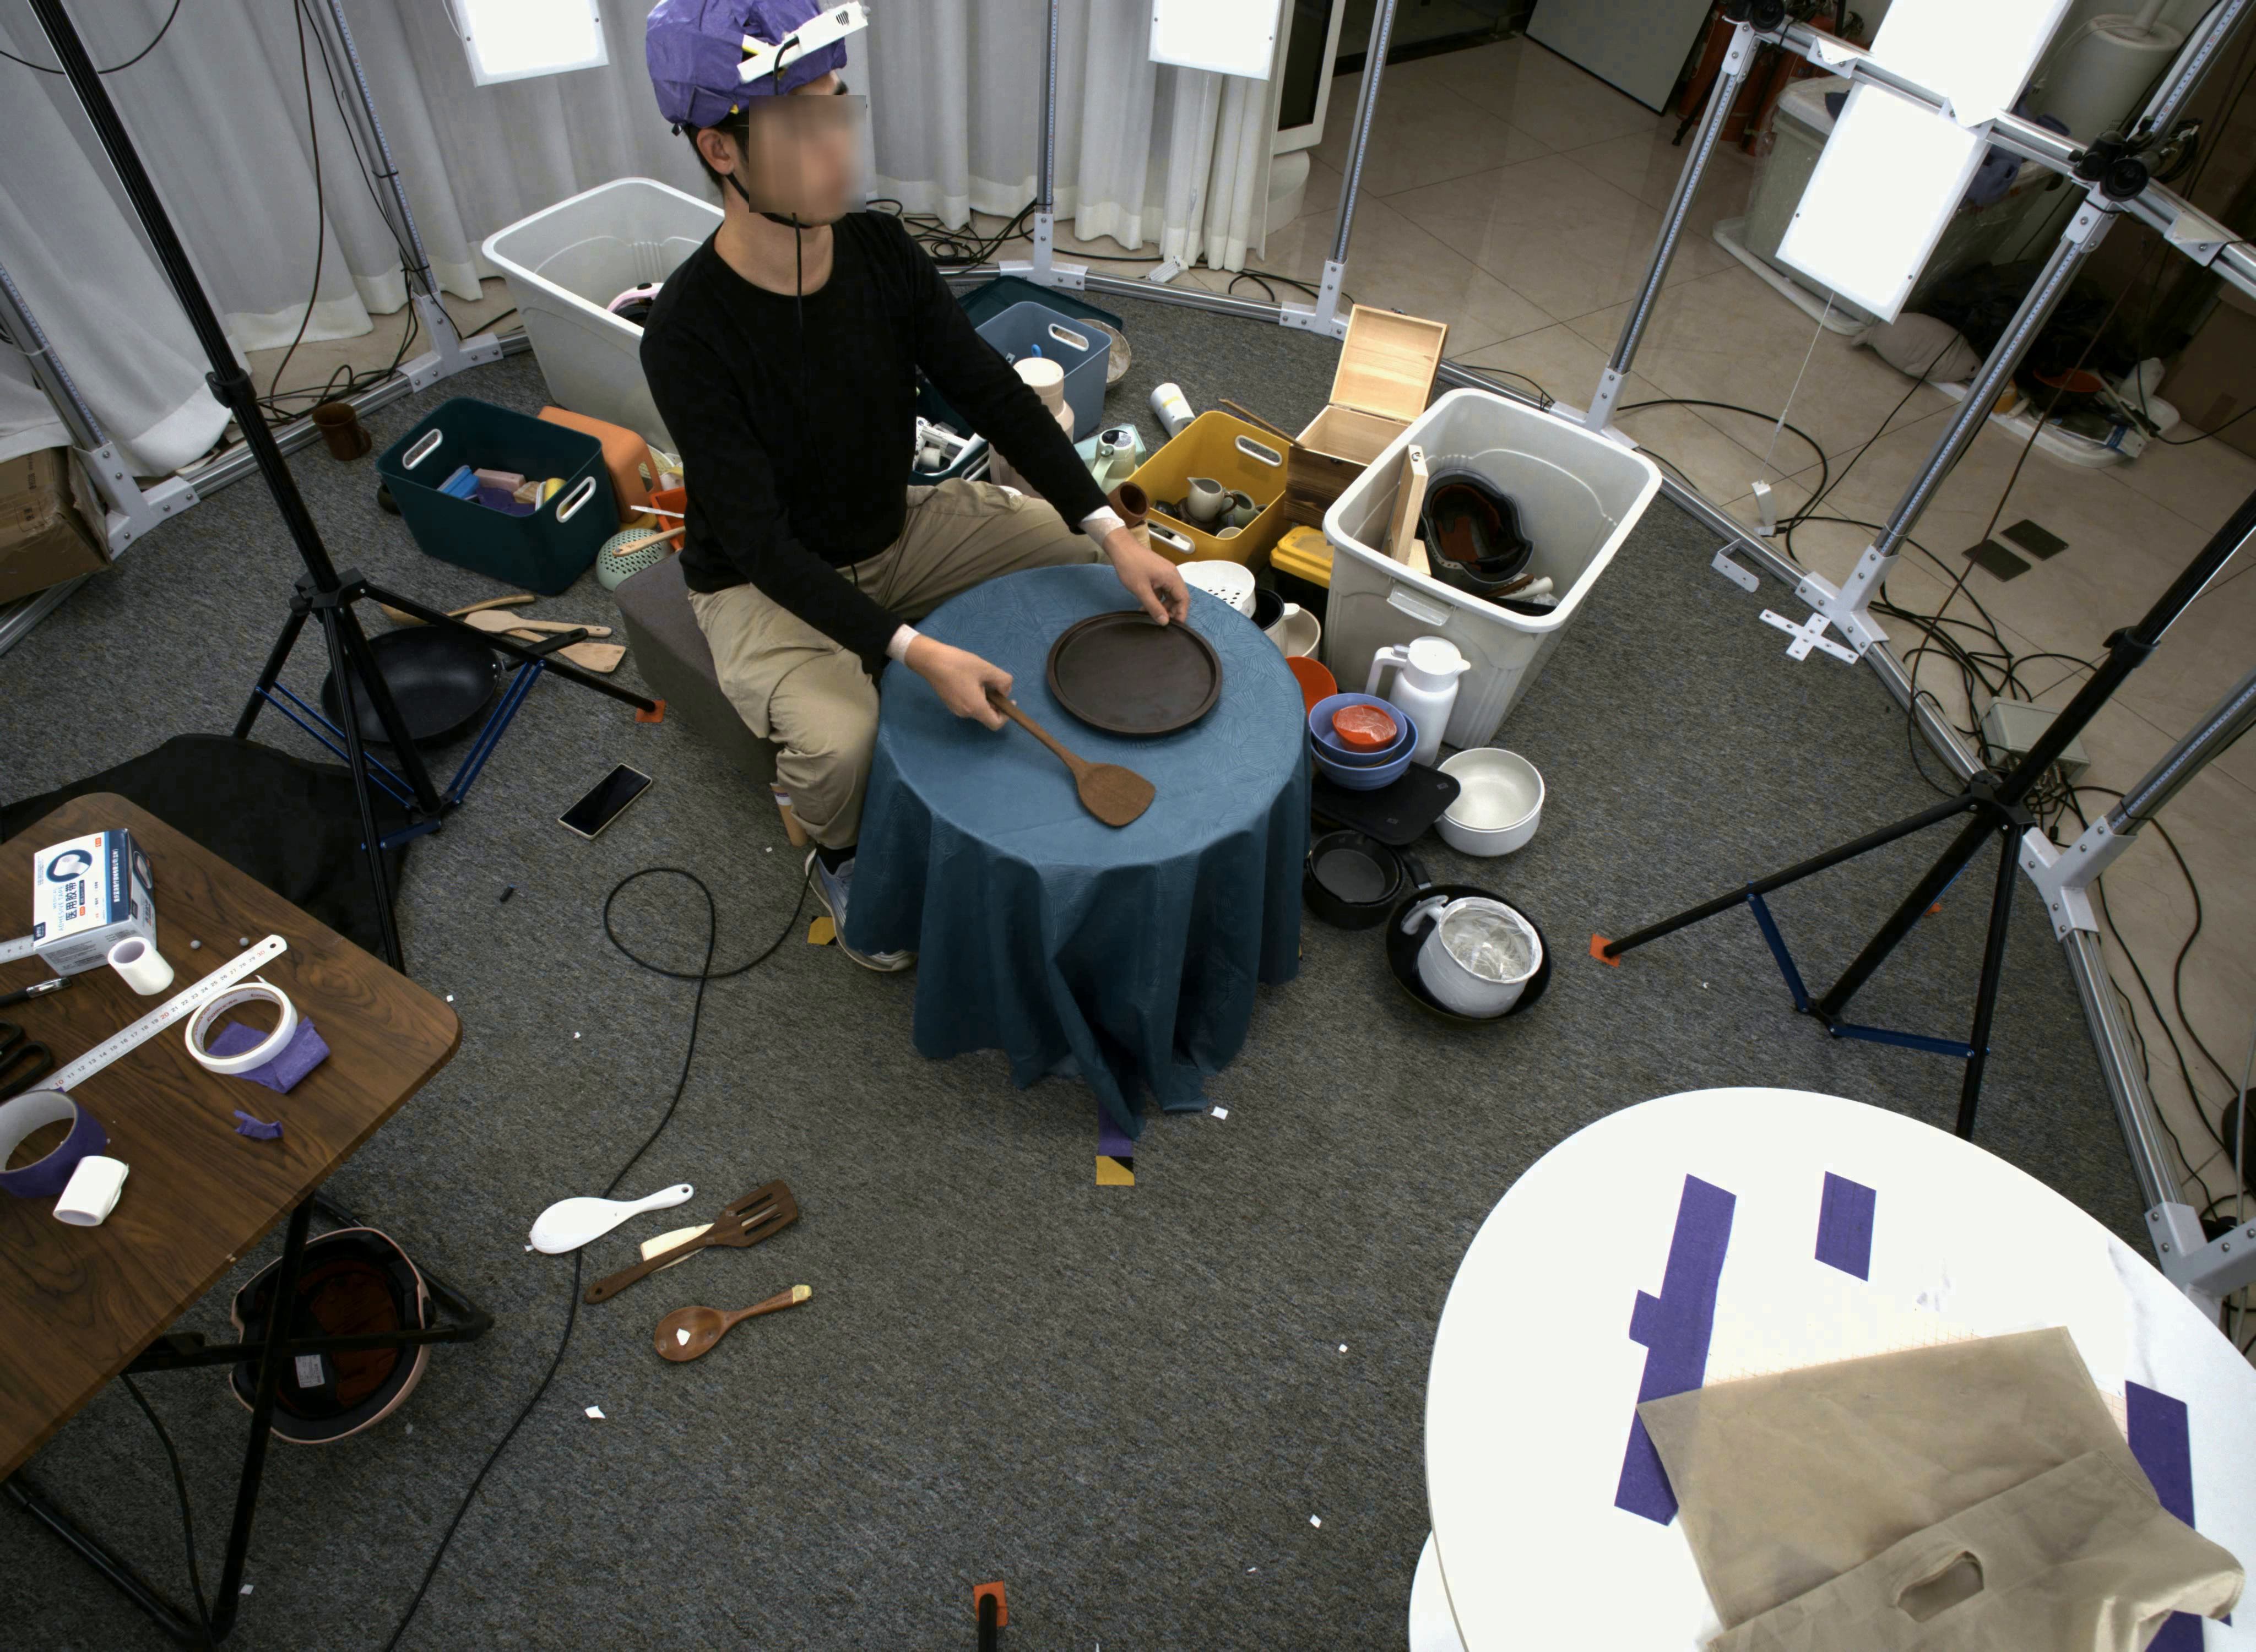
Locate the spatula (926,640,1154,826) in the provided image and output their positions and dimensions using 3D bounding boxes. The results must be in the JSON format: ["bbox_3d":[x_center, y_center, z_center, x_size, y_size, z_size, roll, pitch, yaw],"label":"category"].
[{"bbox_3d":[-0.129,-0.135,1.730,0.389,0.015,0.097,40,56,13],"label":"spatula"}]

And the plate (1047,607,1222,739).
[{"bbox_3d":[0.010,-0.218,1.844,0.254,0.028,0.261,1,50,-2],"label":"plate"}]
